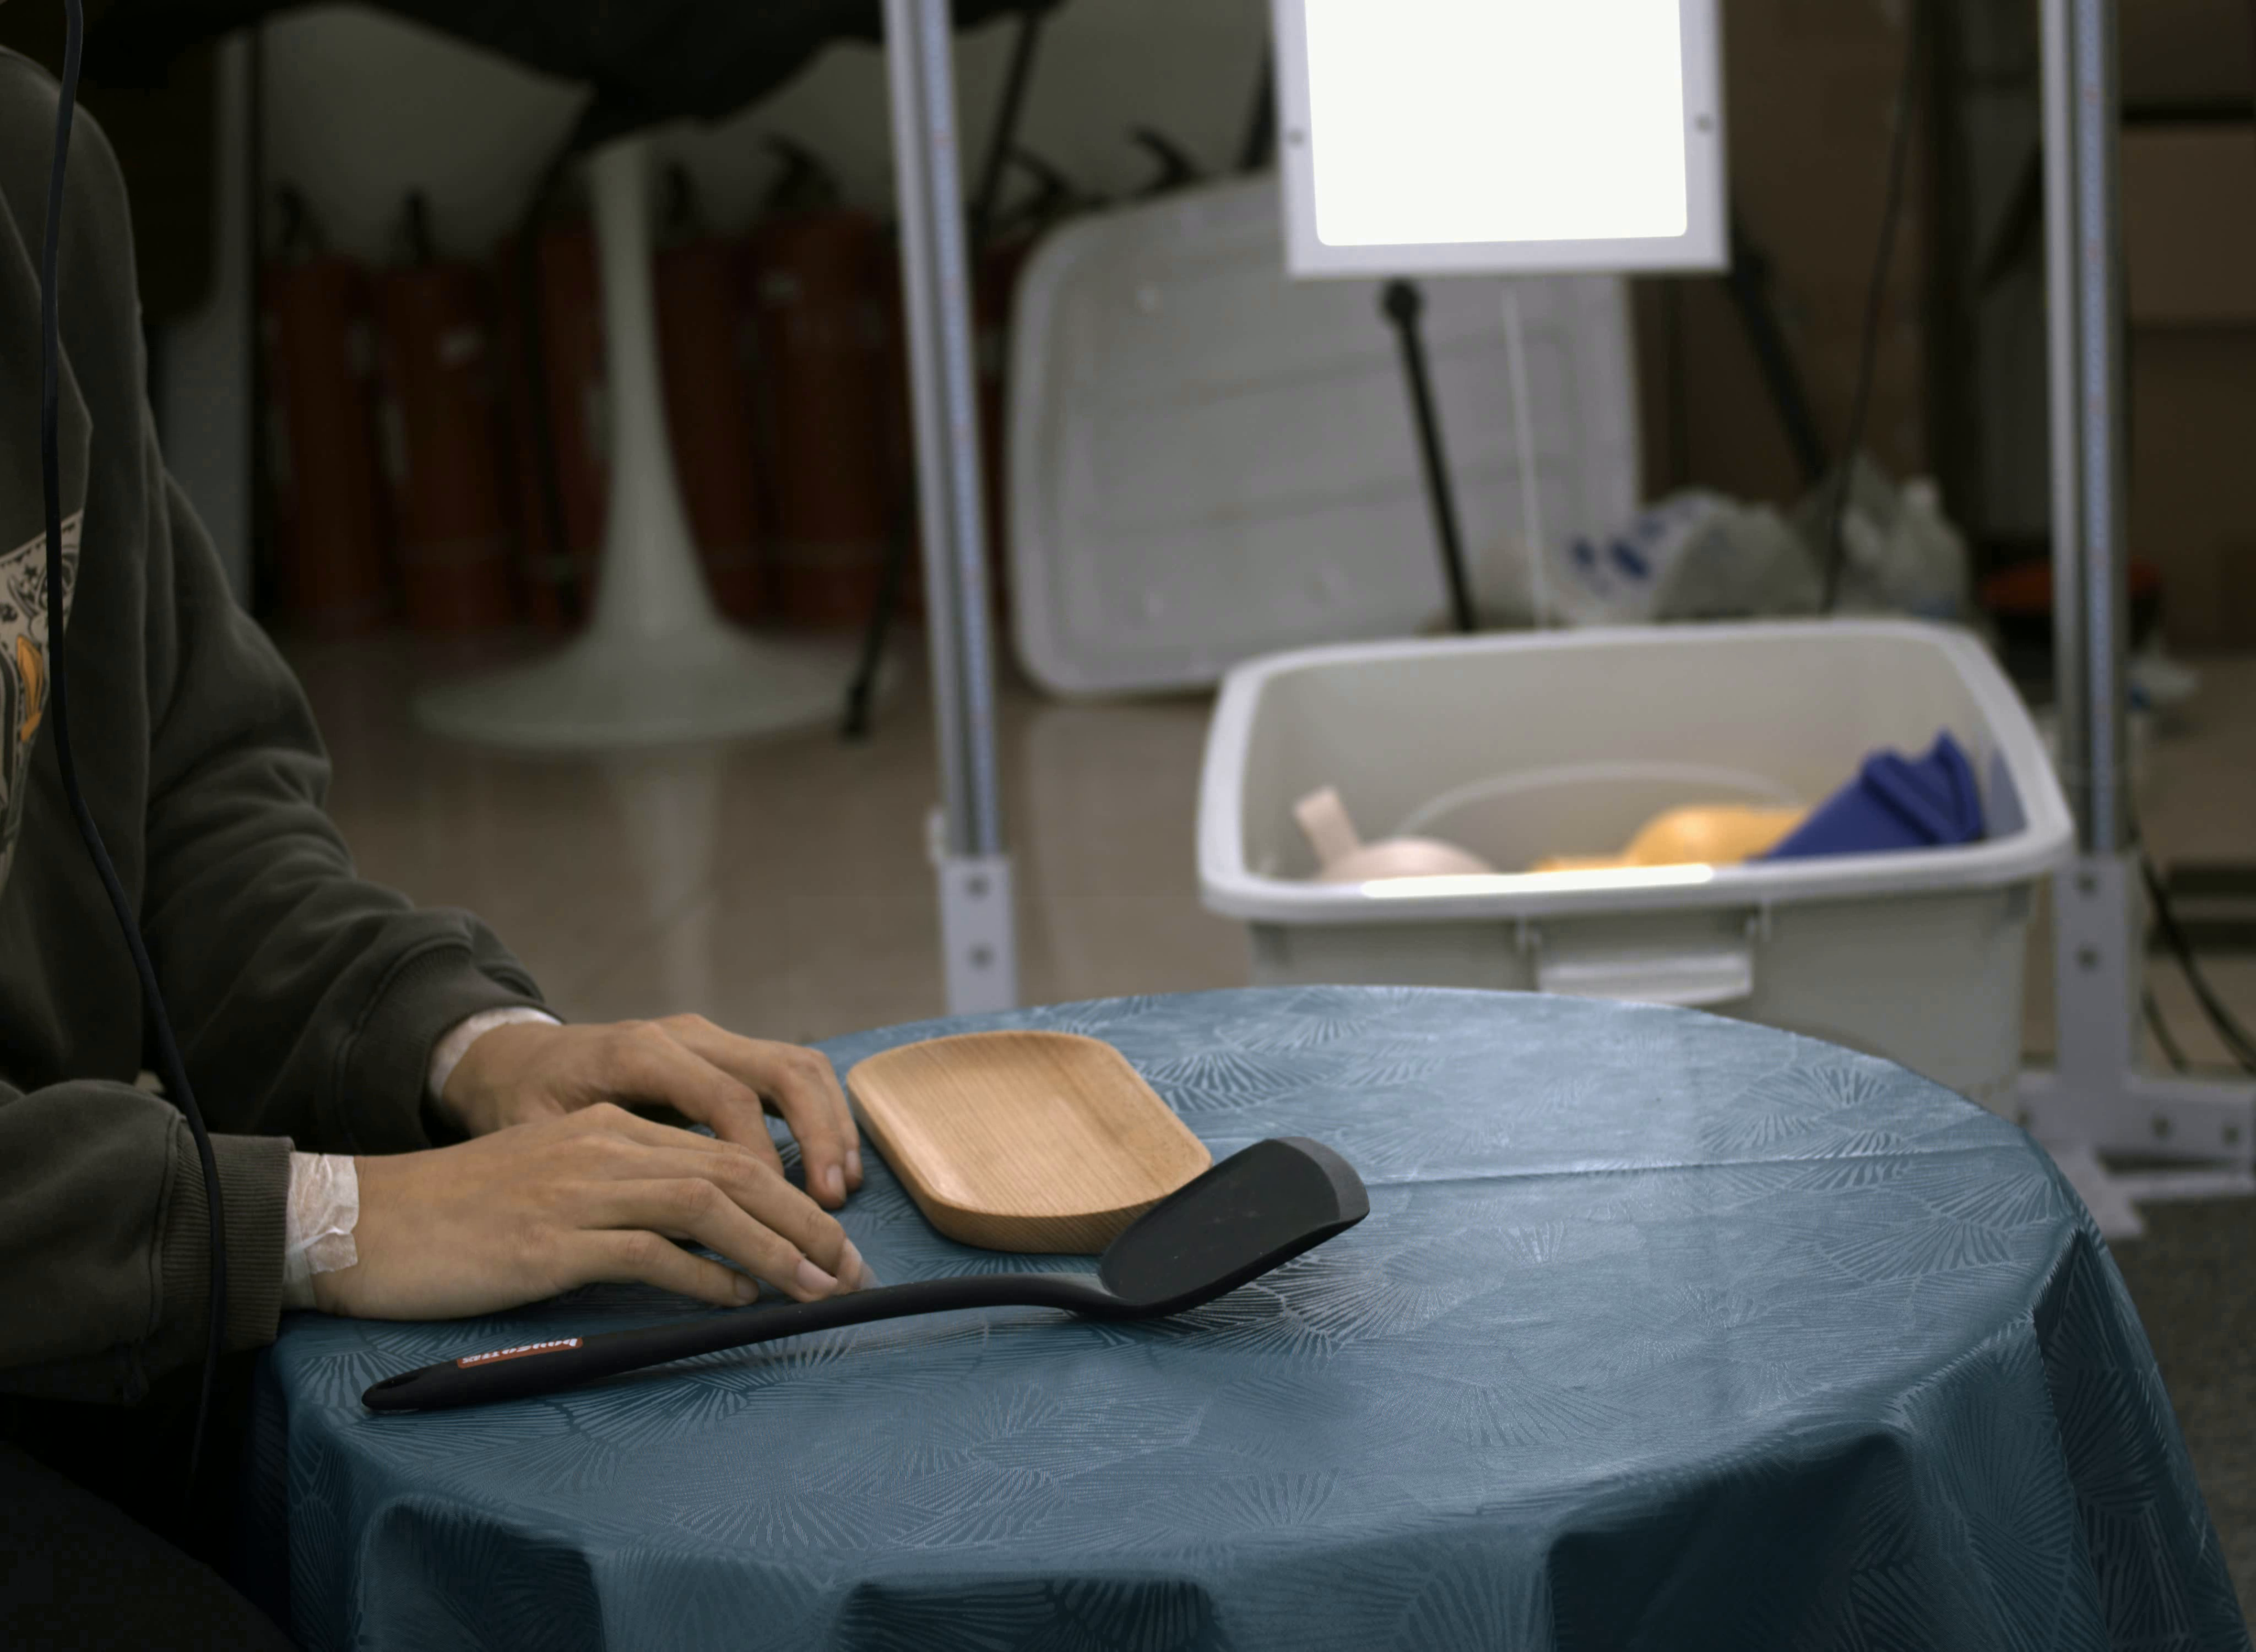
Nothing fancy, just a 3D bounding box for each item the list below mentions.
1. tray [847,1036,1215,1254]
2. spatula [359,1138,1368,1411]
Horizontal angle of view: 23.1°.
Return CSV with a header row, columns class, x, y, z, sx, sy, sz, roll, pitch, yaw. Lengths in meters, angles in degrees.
class,x,y,z,sx,sy,sz,roll,pitch,yaw
tray,-0.036,0.111,1.941,0.100,0.020,0.233,-9,15,-12
spatula,-0.085,0.148,1.763,0.323,0.040,0.100,-7,13,-8
